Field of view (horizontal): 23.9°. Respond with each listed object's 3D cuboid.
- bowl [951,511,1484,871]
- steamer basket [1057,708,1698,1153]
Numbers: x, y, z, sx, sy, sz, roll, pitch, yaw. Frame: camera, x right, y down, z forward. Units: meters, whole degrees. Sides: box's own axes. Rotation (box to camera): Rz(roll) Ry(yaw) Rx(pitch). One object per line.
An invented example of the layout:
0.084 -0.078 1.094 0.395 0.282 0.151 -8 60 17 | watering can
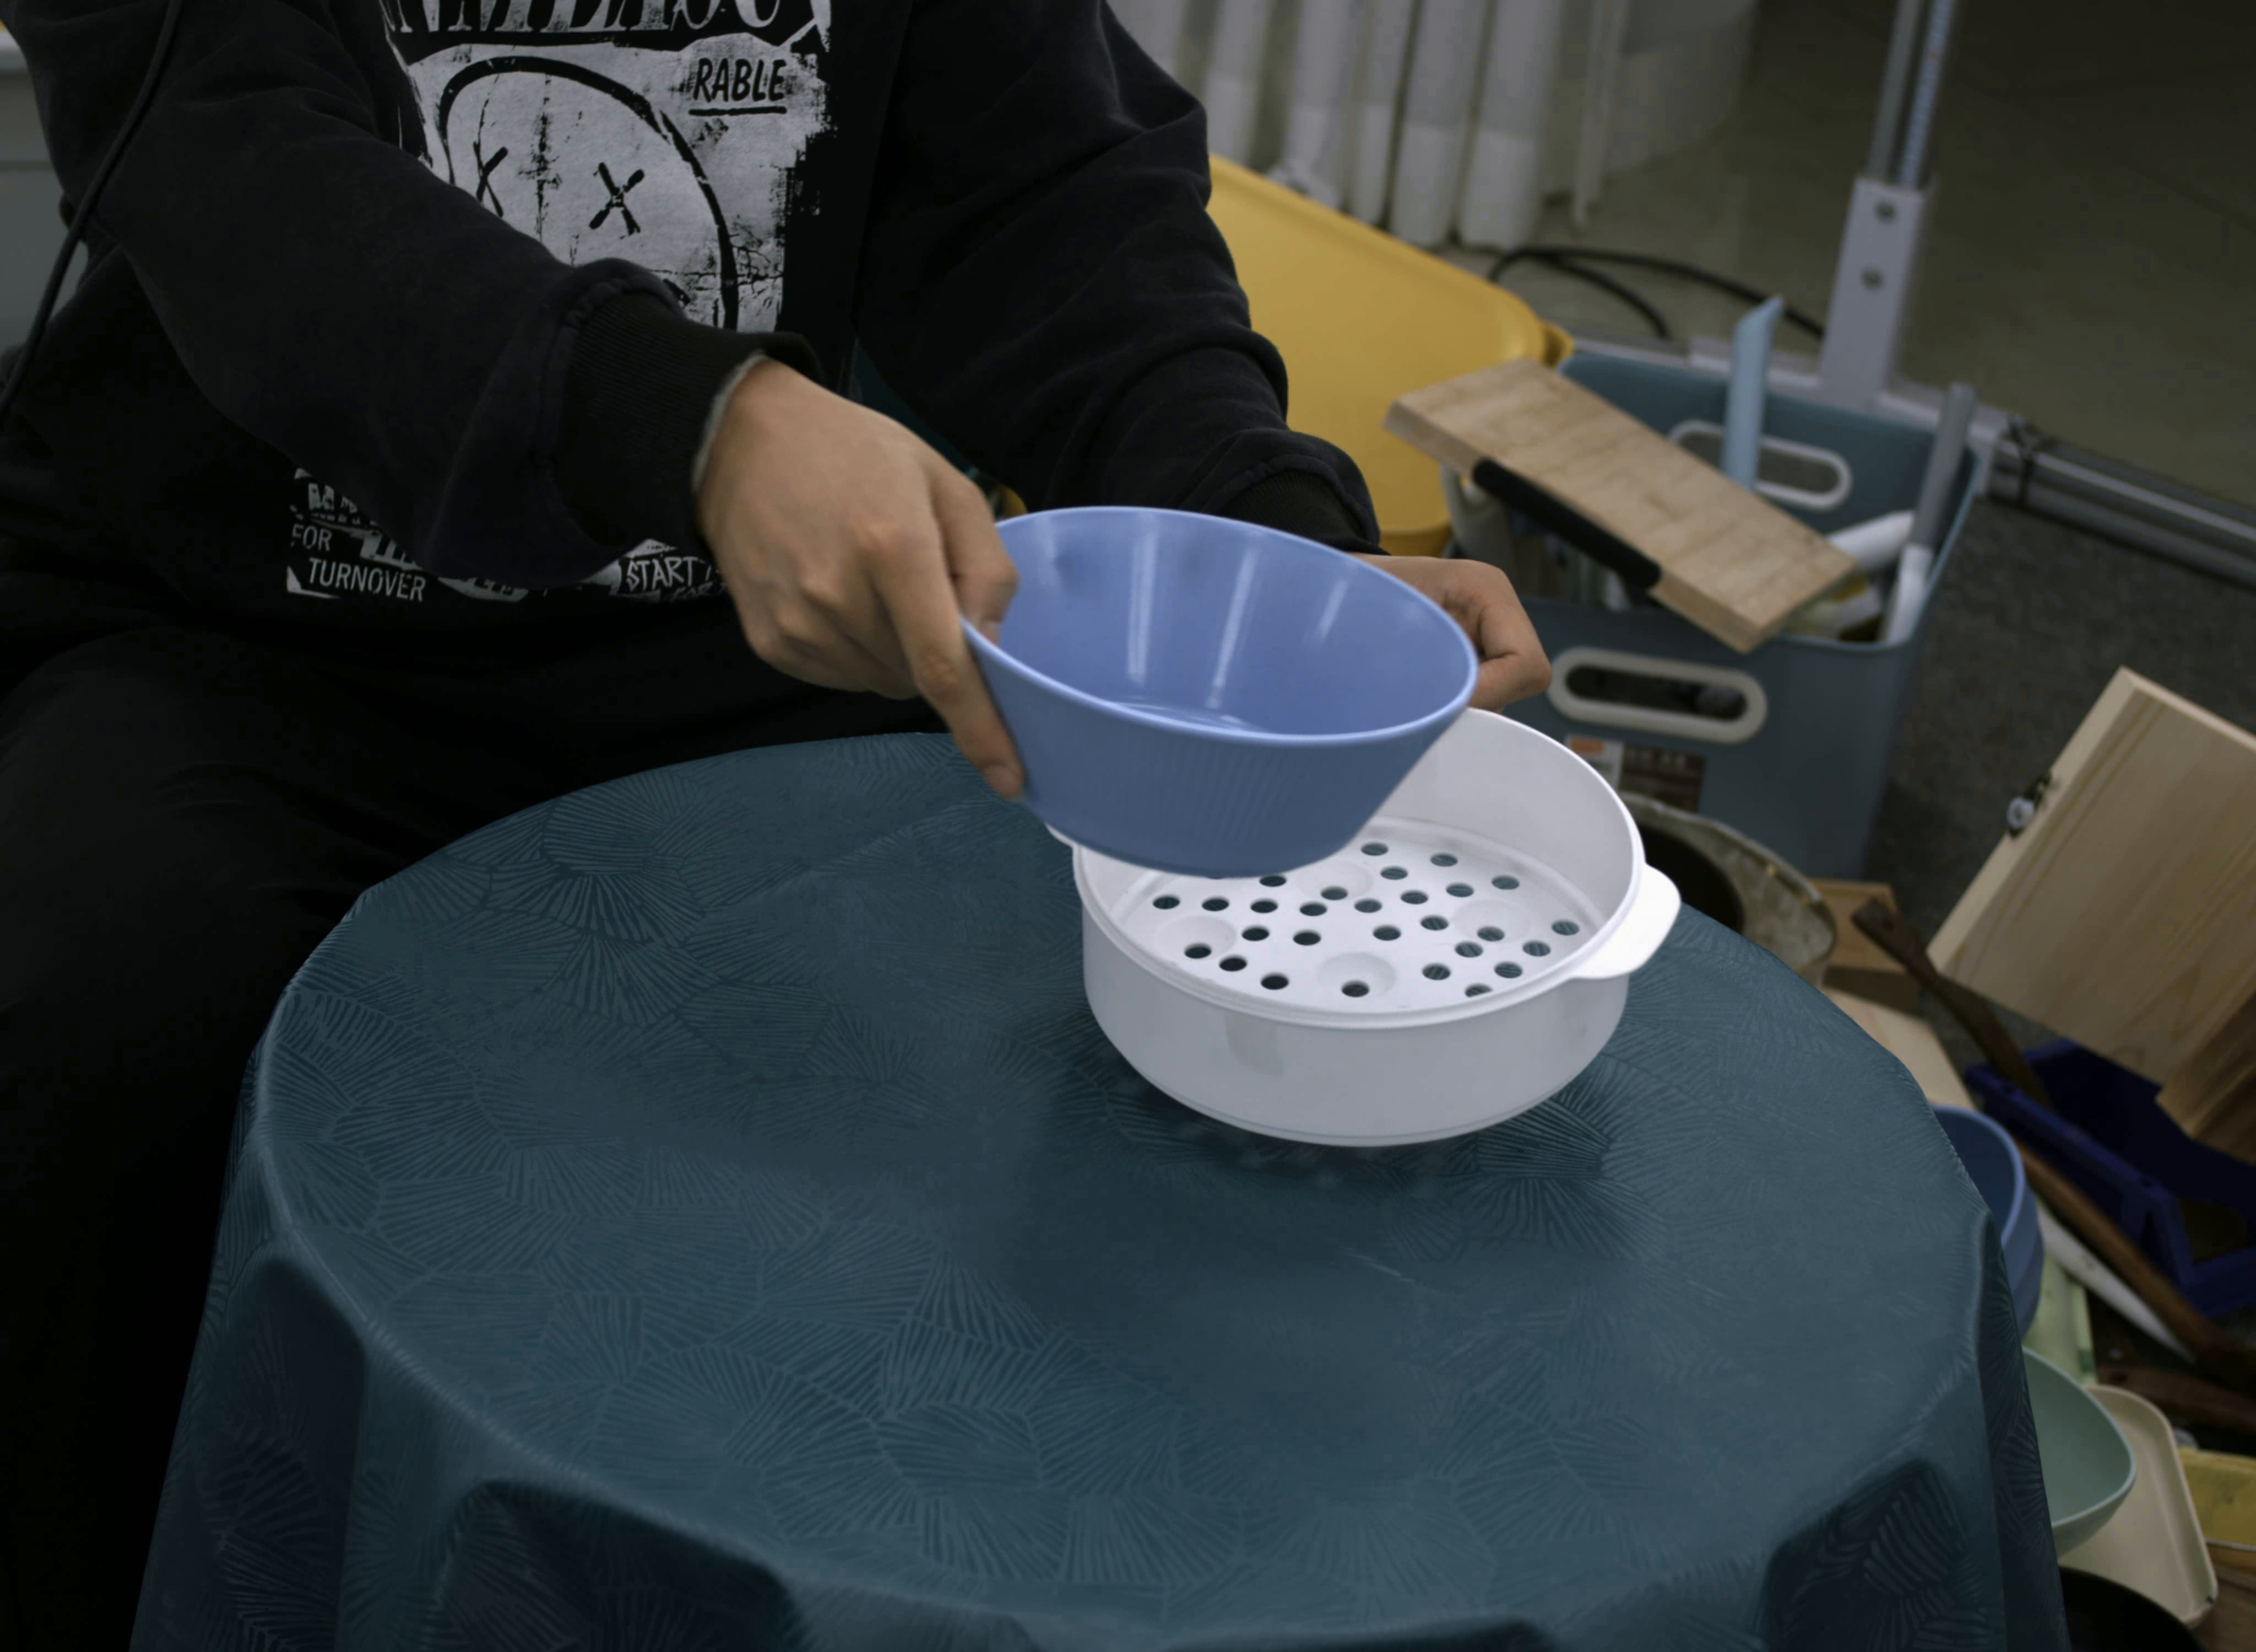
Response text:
0.024 -0.039 1.729 0.175 0.070 0.177 9 24 -4 | bowl
0.085 0.035 1.875 0.231 0.069 0.202 16 37 20 | steamer basket
